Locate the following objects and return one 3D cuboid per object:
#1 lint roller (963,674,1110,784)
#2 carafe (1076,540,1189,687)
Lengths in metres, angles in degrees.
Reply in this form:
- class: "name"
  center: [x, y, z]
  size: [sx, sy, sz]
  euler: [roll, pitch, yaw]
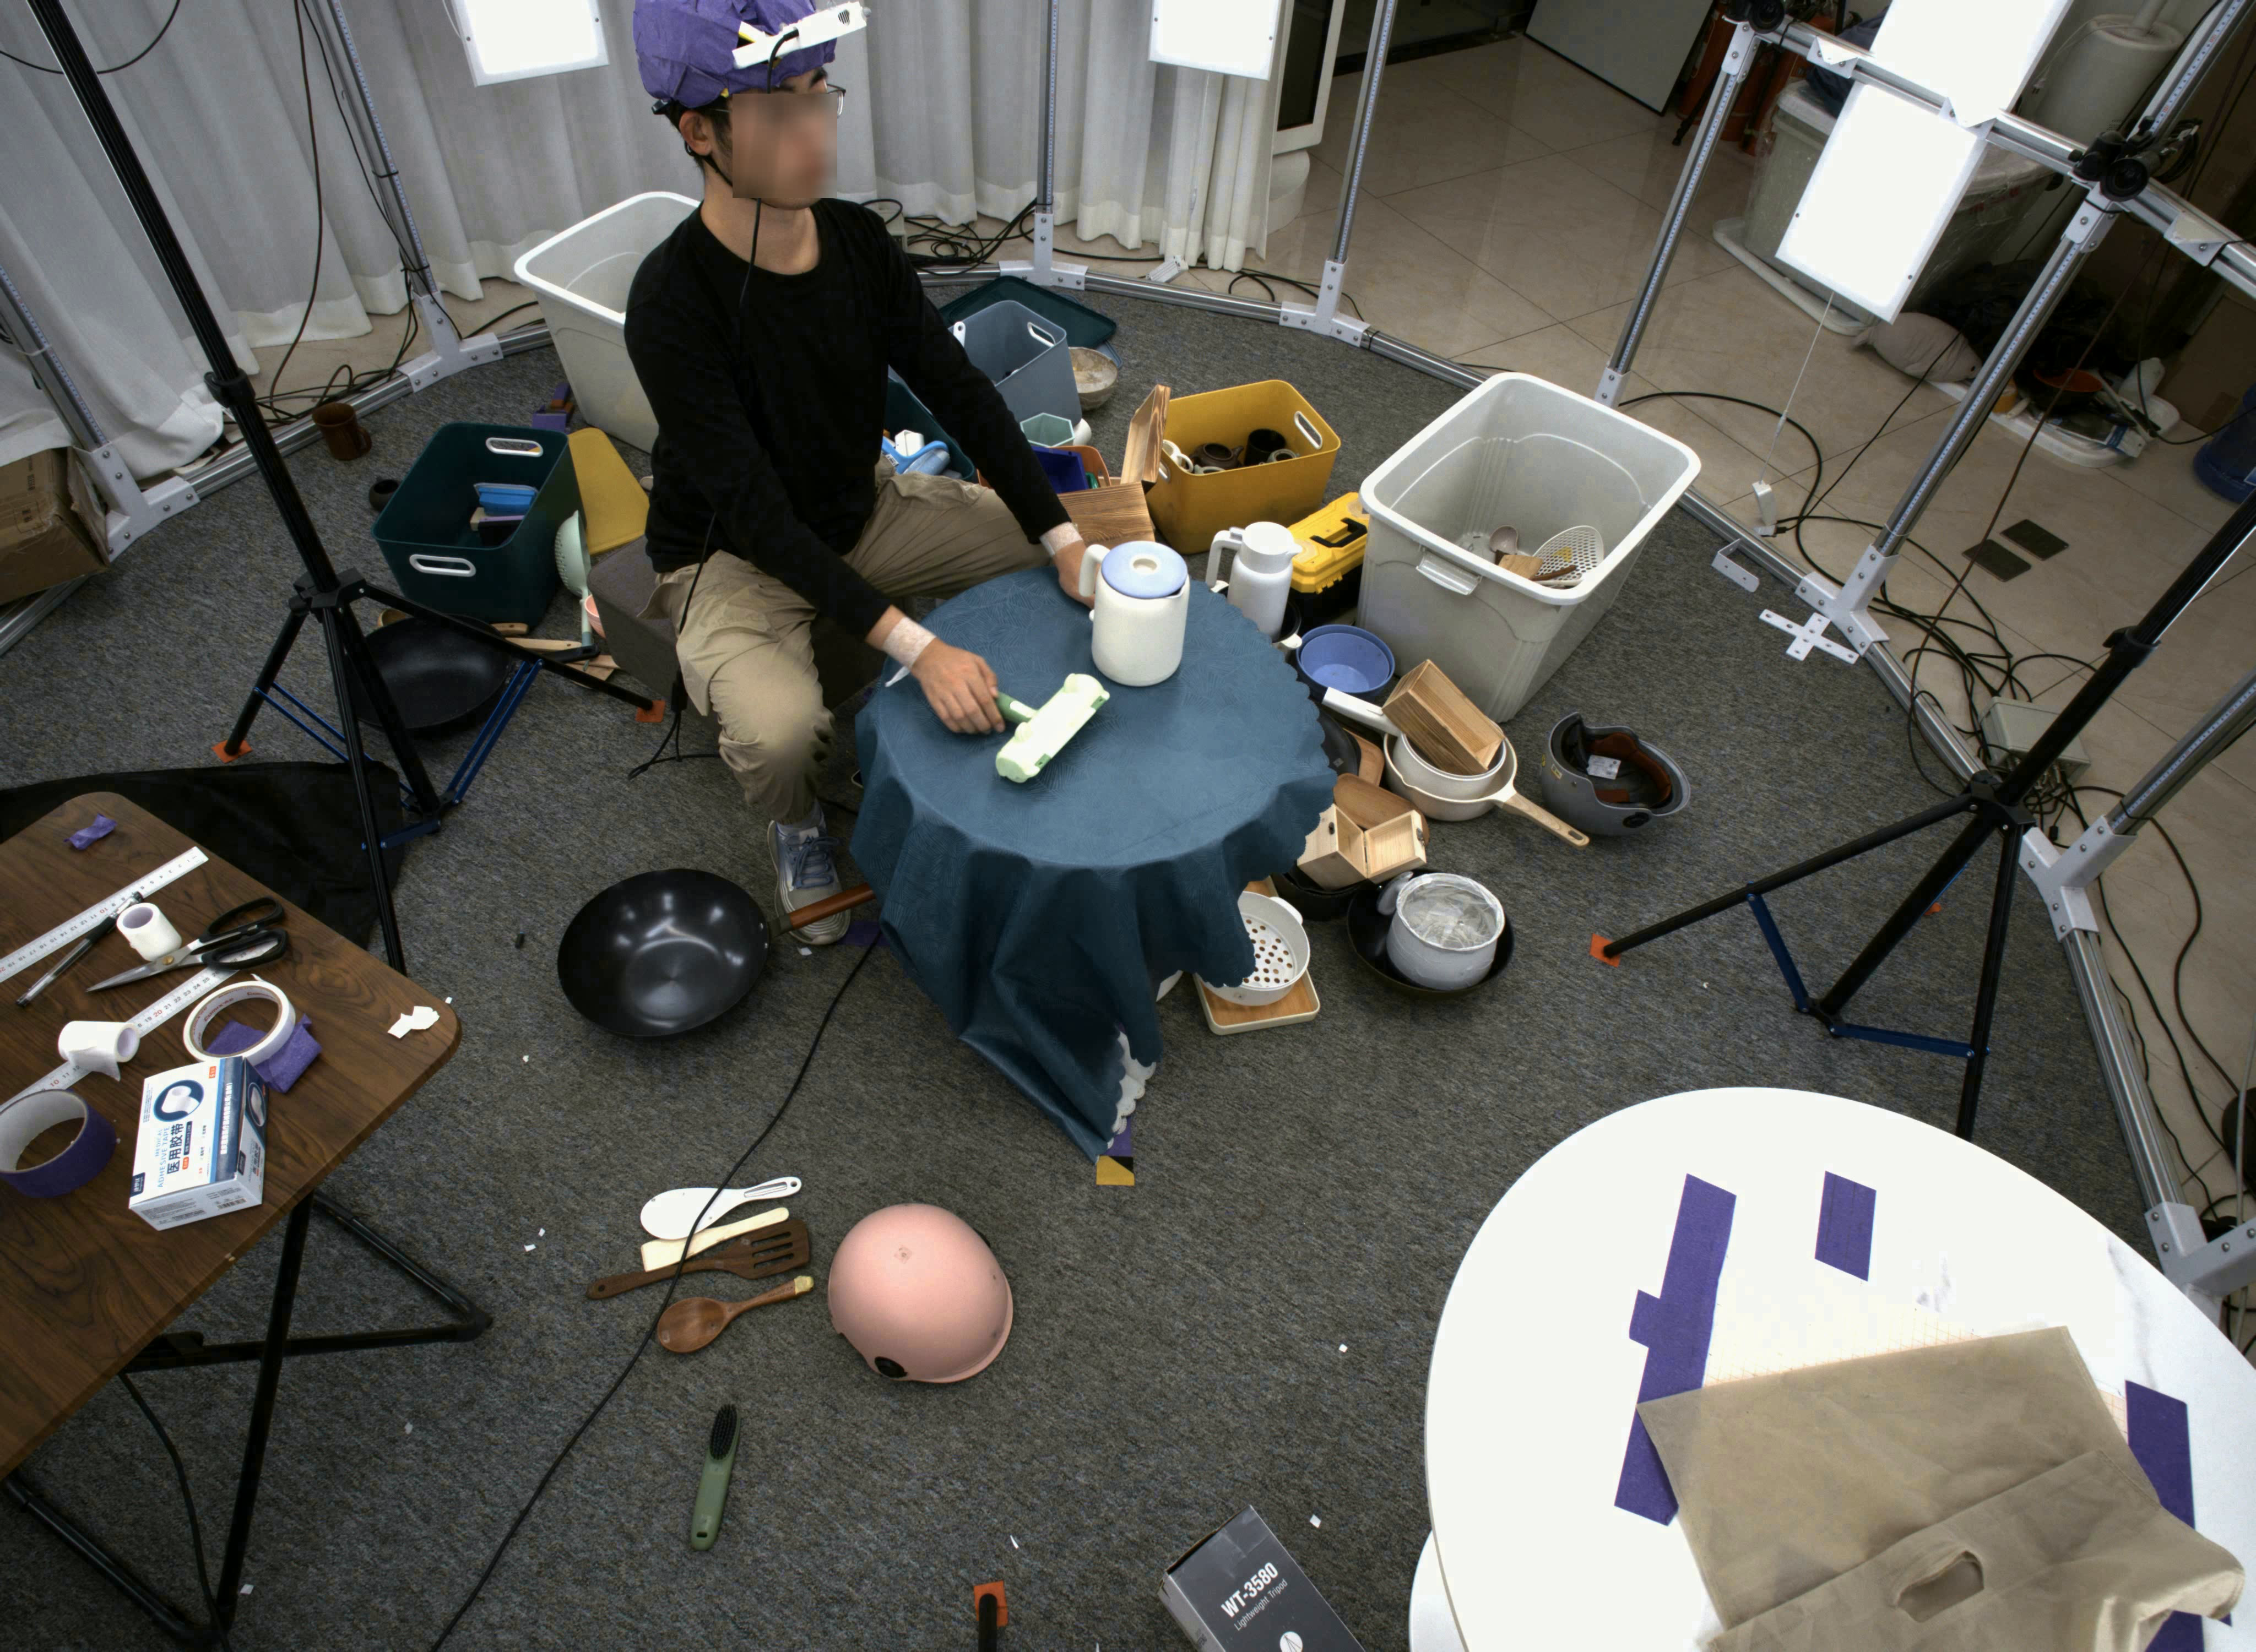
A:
- class: "lint roller"
  center: [-0.149, -0.165, 1.753]
  size: [0.185, 0.080, 0.201]
  euler: [29, 52, 16]
- class: "carafe"
  center: [0.000, -0.314, 1.831]
  size: [0.194, 0.178, 0.133]
  euler: [36, 55, 27]
